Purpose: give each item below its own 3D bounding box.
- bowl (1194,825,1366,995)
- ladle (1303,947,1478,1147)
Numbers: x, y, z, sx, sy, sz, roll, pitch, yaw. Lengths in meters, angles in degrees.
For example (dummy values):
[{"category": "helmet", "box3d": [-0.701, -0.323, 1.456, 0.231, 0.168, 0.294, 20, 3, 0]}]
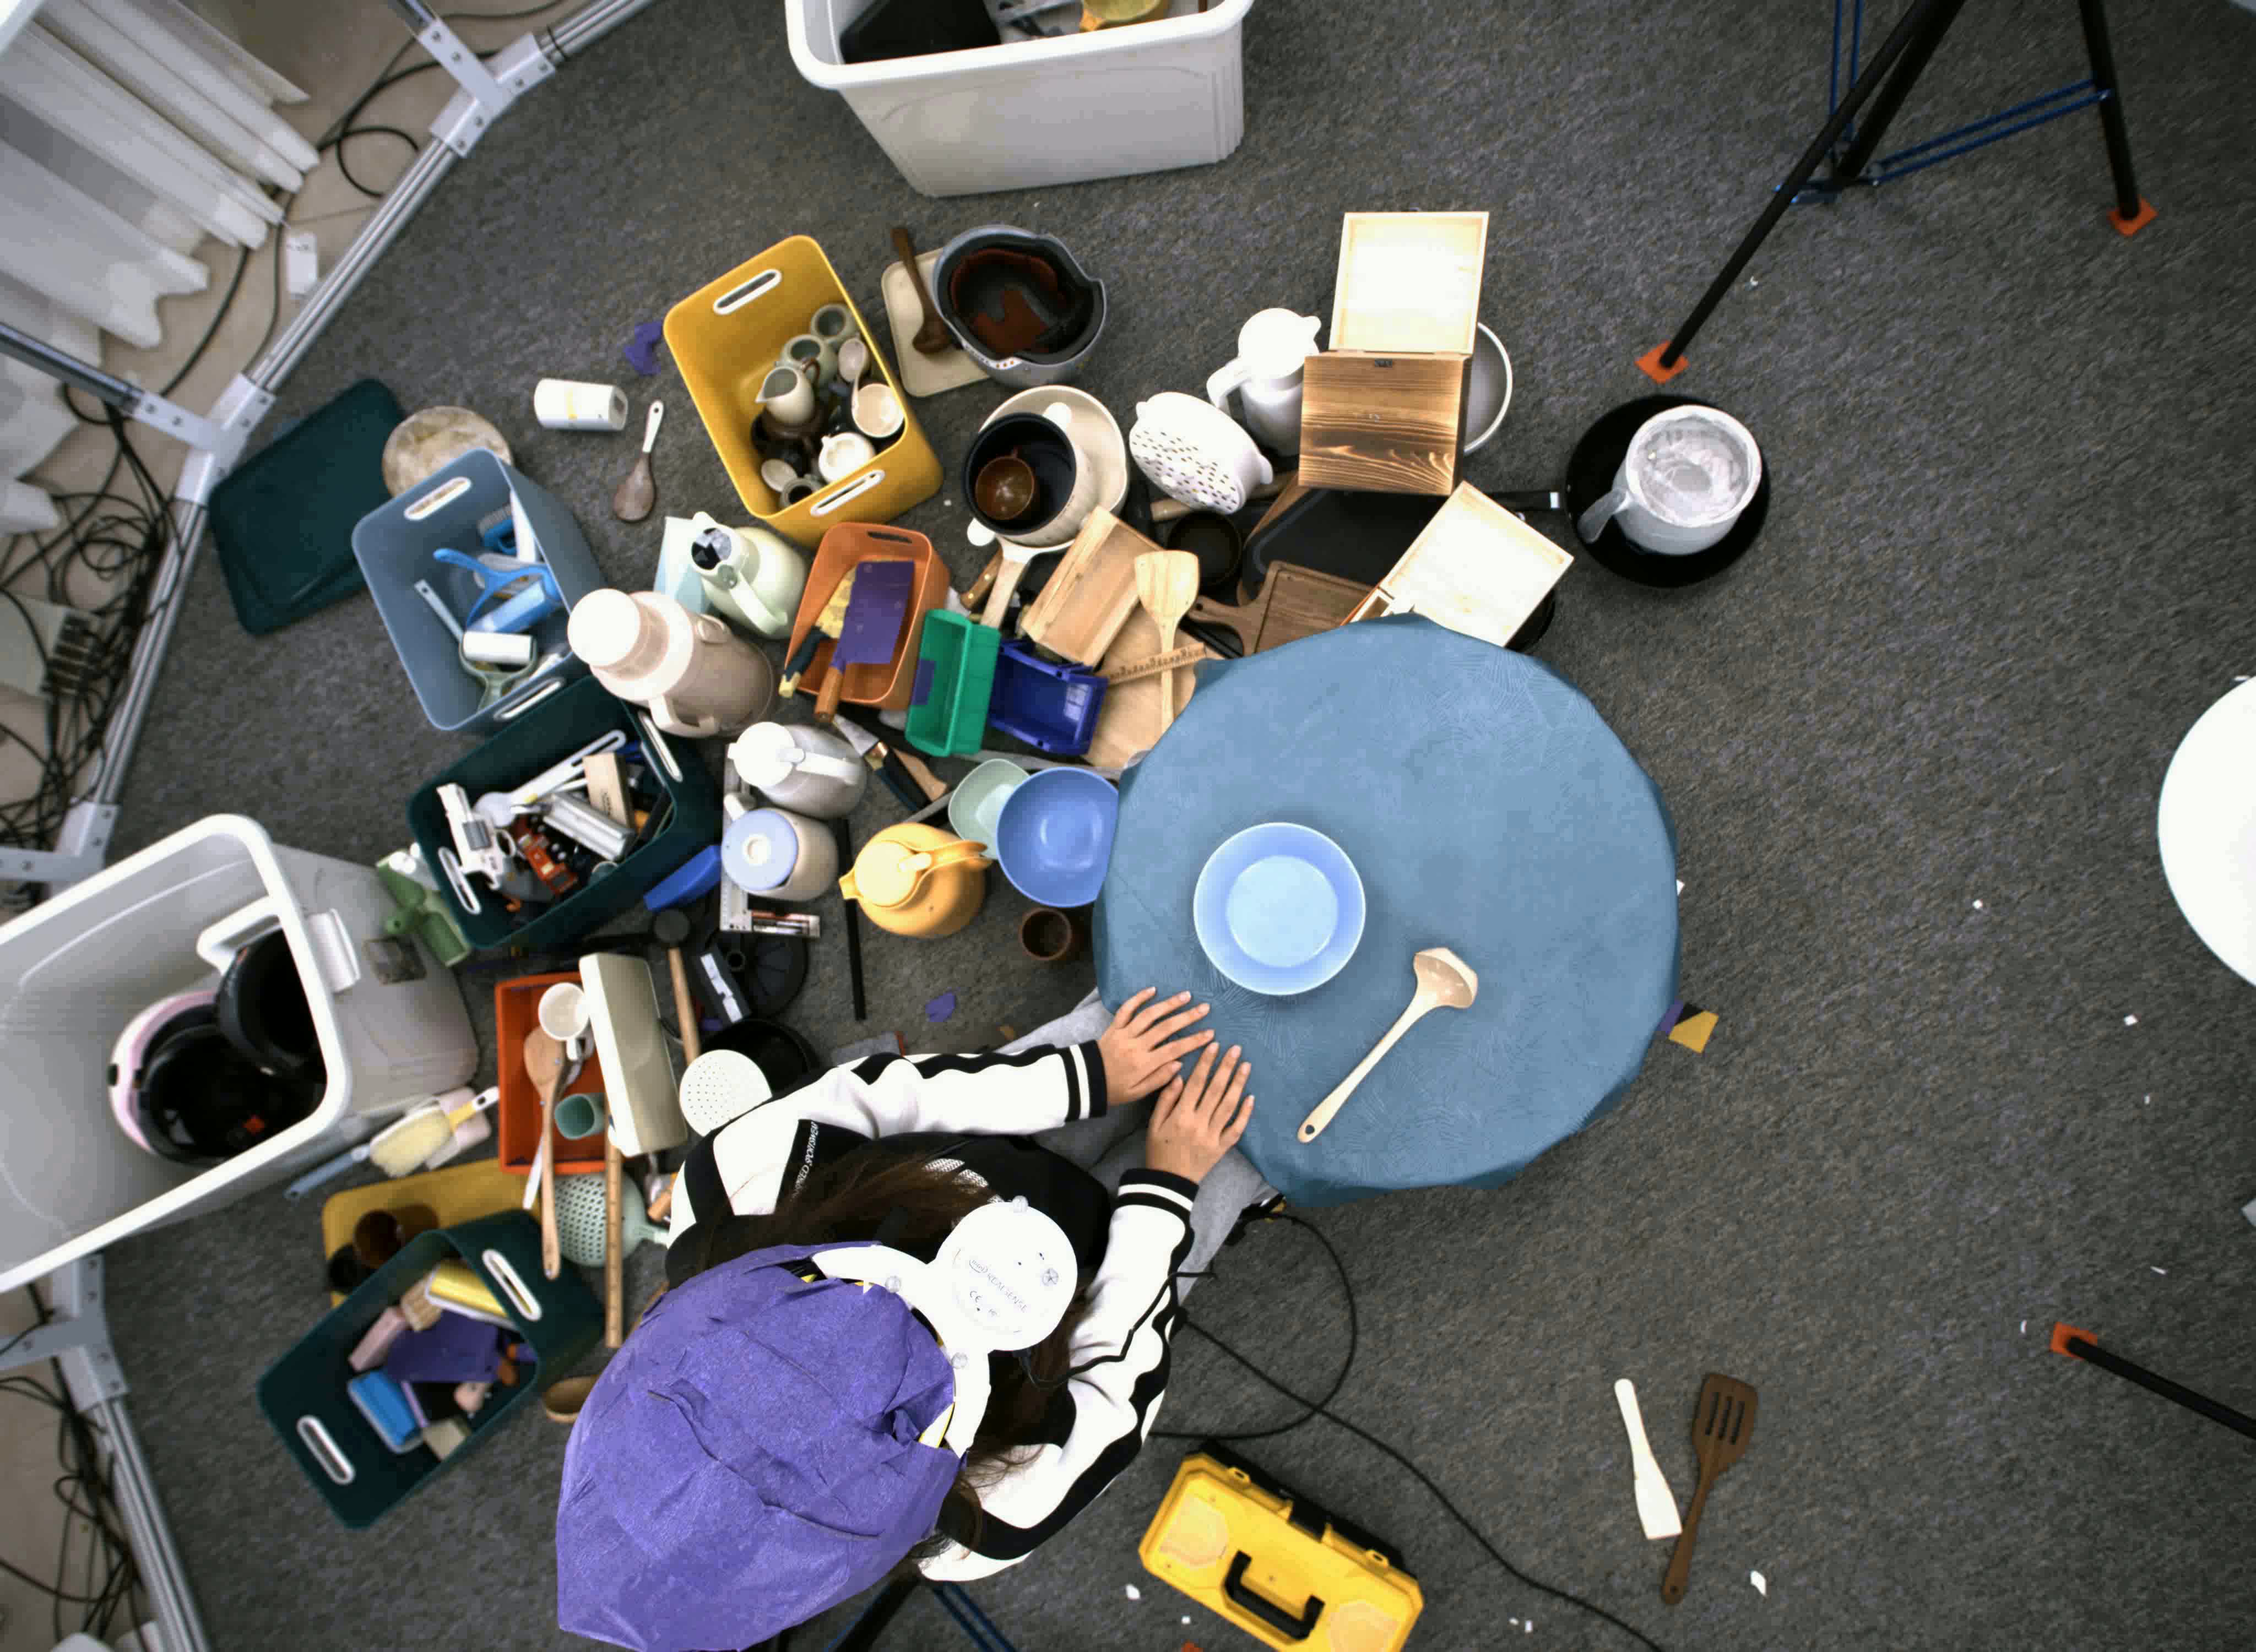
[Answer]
[{"category": "bowl", "box3d": [0.160, 0.088, 1.444, 0.177, 0.070, 0.175, -1, 85, 11]}, {"category": "ladle", "box3d": [0.261, 0.231, 1.416, 0.072, 0.073, 0.255, 40, 94, 11]}]
